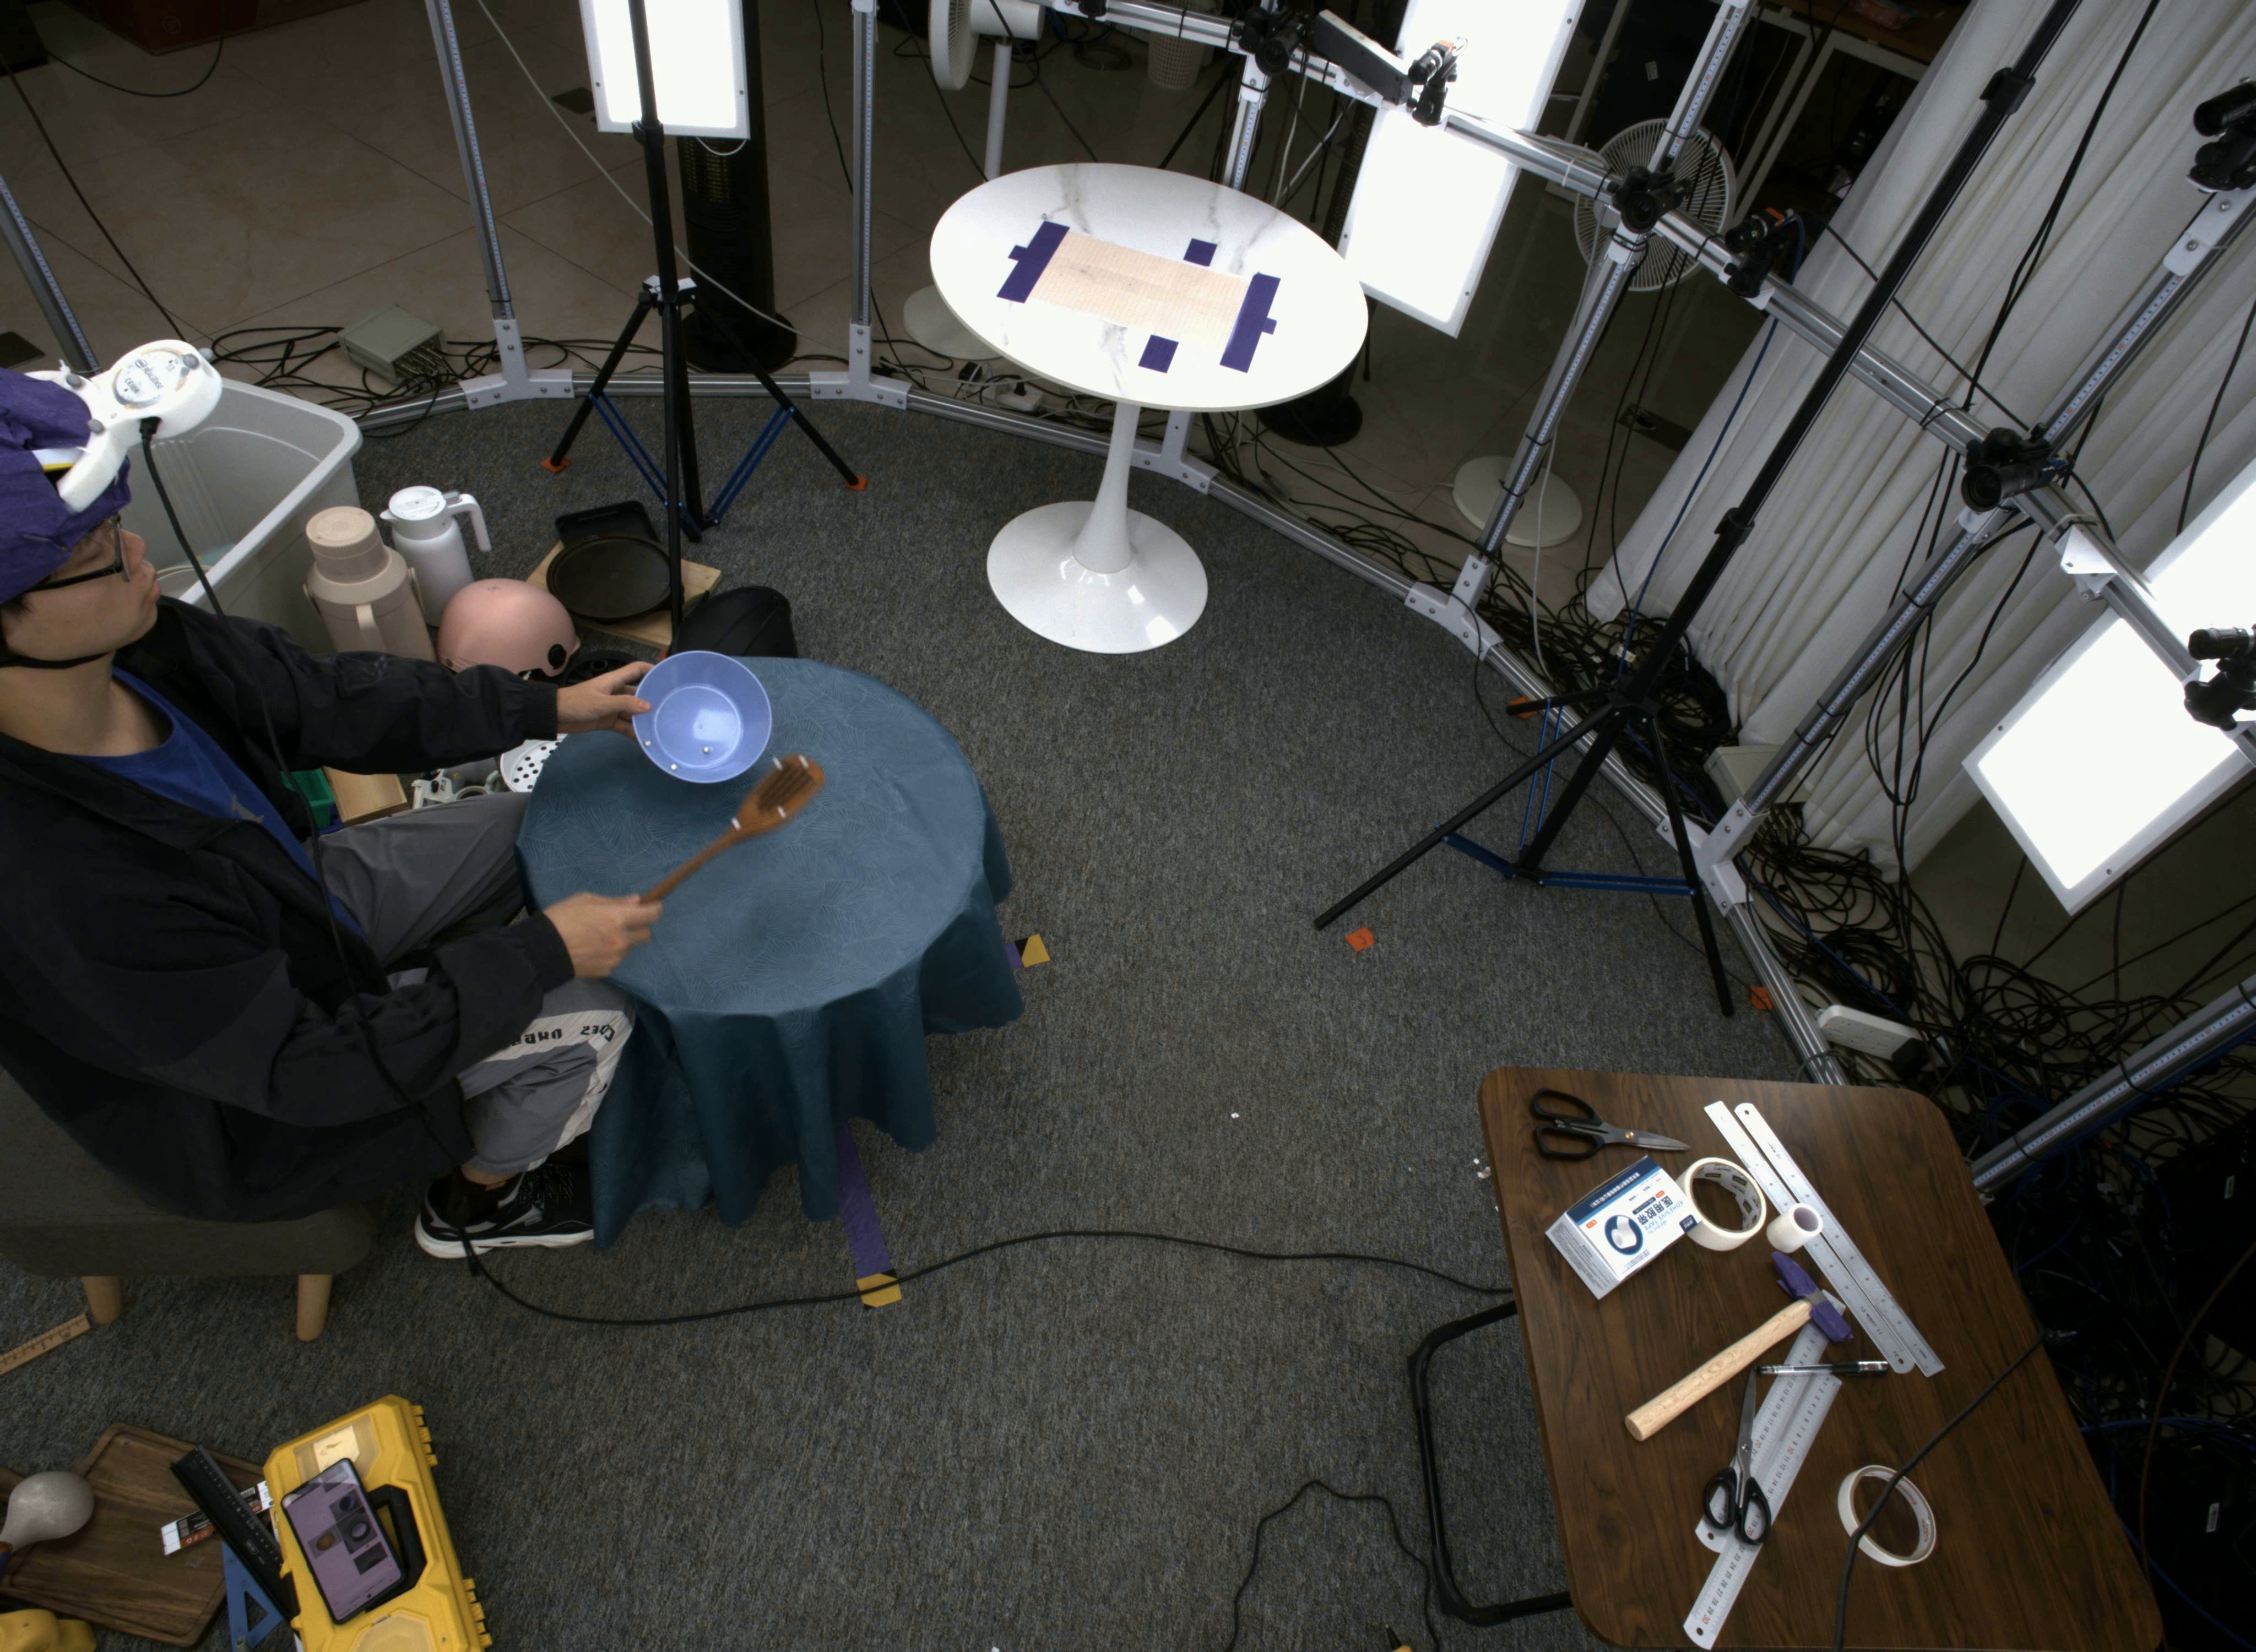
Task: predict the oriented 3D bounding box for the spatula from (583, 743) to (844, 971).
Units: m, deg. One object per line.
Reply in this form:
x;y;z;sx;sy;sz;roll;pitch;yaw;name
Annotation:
-0.489;0.035;1.513;0.082;0.025;0.386;30;61;32;spatula

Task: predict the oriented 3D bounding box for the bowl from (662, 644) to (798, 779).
-0.531;-0.145;1.711;0.178;0.069;0.177;4;82;-25;bowl
